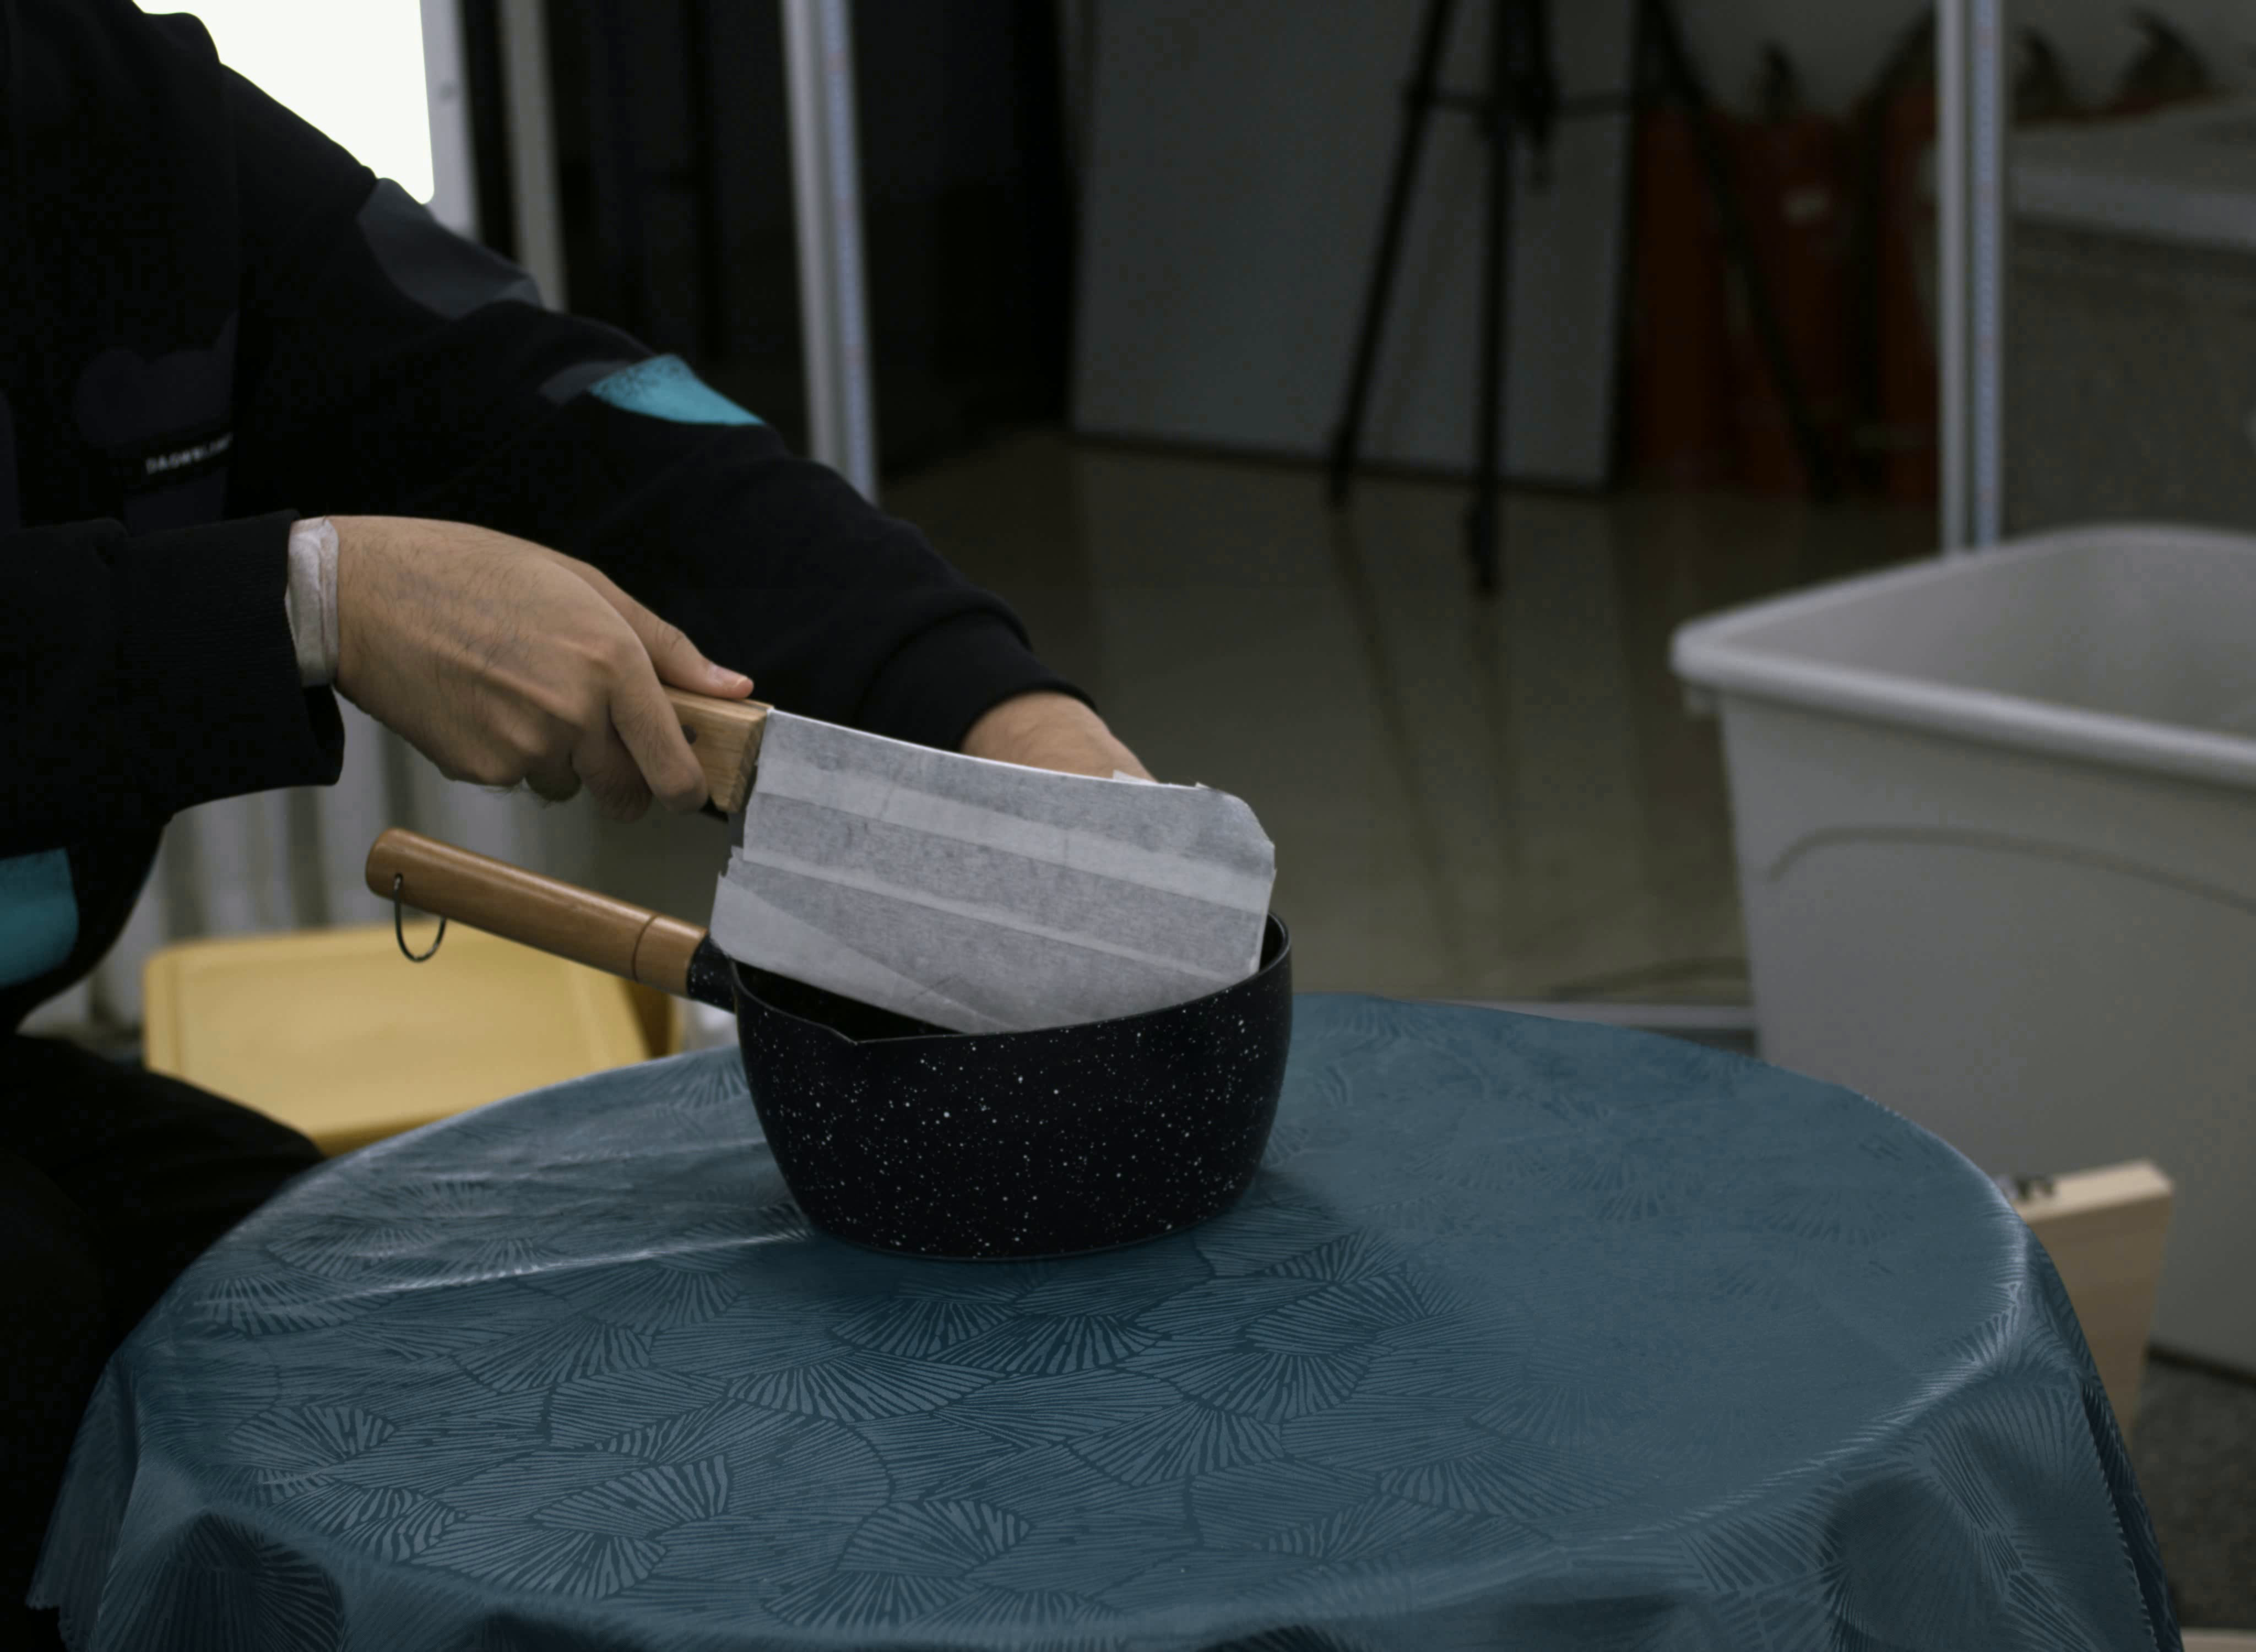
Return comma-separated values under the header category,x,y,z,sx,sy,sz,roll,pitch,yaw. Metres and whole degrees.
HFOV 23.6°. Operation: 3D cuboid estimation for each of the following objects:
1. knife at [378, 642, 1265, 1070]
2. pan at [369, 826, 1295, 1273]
category,x,y,z,sx,sy,sz,roll,pitch,yaw
knife,-0.098,-0.002,1.746,0.314,0.115,0.021,18,15,12
pan,-0.106,0.065,1.799,0.343,0.109,0.205,4,17,26
